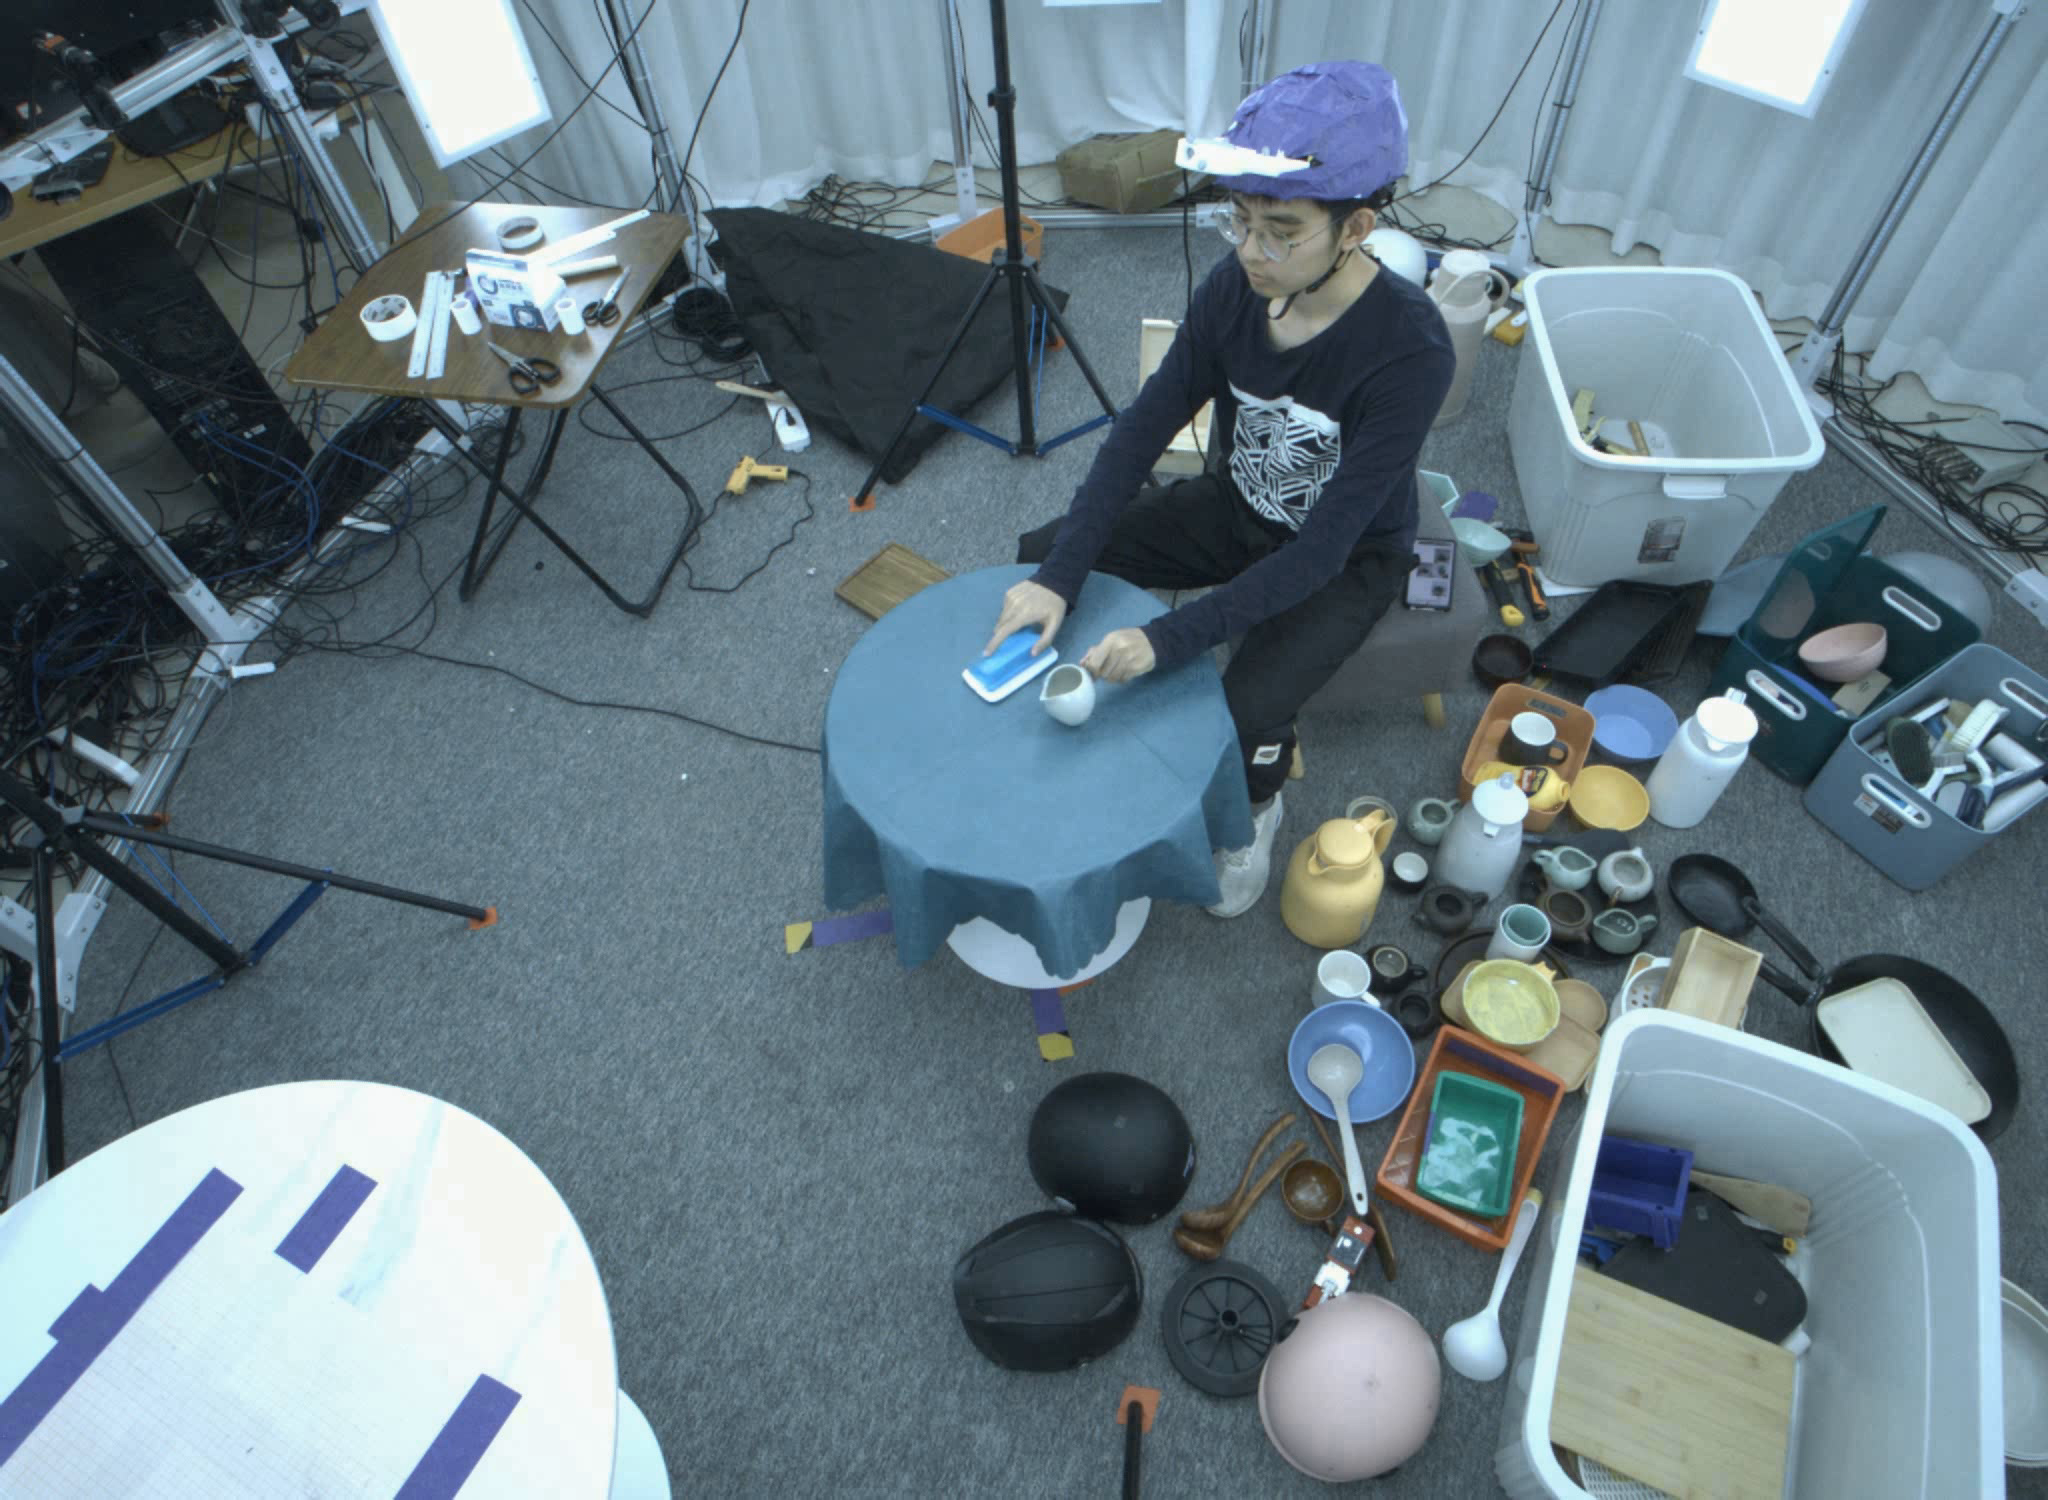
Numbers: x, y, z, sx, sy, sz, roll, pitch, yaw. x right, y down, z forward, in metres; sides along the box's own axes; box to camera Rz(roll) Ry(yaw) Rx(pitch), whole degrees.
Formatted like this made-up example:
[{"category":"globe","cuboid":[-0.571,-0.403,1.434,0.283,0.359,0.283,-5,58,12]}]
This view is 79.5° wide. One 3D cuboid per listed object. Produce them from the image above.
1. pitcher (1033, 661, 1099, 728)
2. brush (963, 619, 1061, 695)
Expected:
[{"category":"pitcher","cuboid":[0.066,-0.077,1.776,0.119,0.089,0.074,-40,62,-10]},{"category":"brush","cuboid":[-0.019,-0.148,1.849,0.145,0.056,0.082,-35,63,-18]}]
